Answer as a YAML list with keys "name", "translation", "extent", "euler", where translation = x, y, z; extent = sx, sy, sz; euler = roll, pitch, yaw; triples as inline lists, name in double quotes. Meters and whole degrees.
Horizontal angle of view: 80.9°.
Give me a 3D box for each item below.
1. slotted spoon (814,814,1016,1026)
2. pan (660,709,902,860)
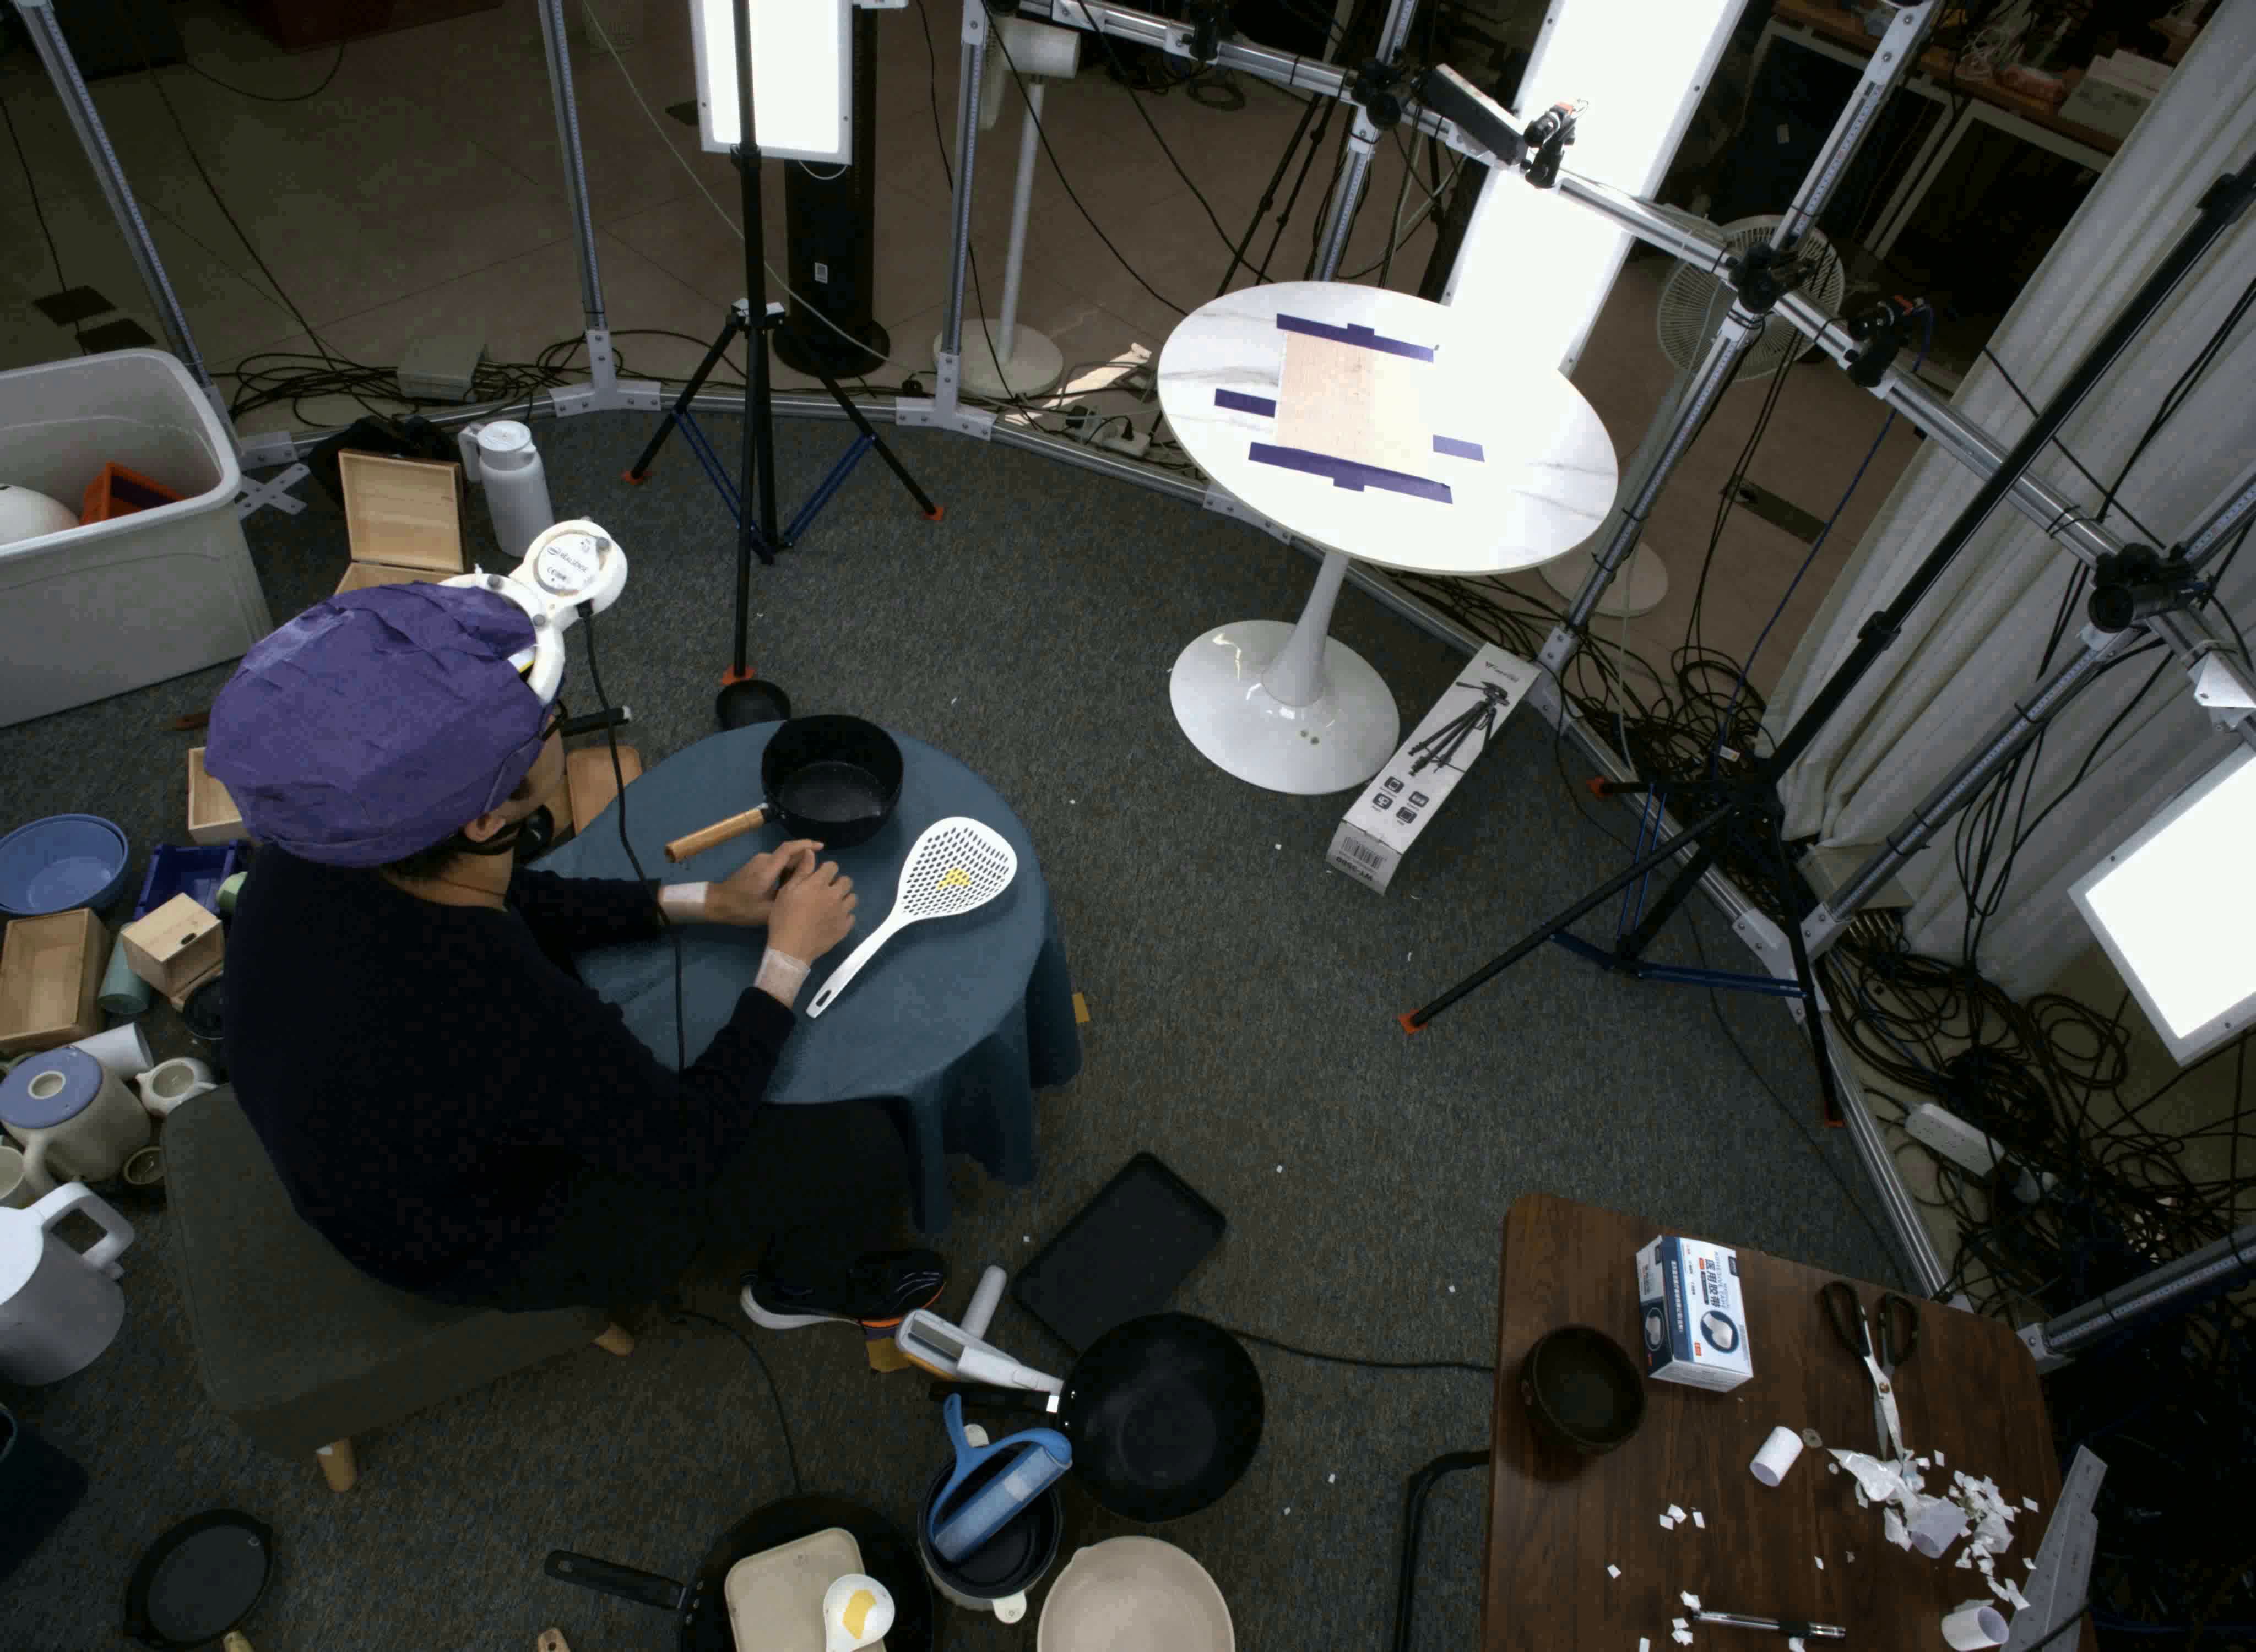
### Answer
- name: "slotted spoon"
  translation: [-0.279, 0.115, 1.638]
  extent: [0.134, 0.051, 0.347]
  euler: [35, 51, 11]
- name: "pan"
  translation: [-0.443, -0.023, 1.656]
  extent: [0.203, 0.110, 0.343]
  euler: [41, 53, 16]
